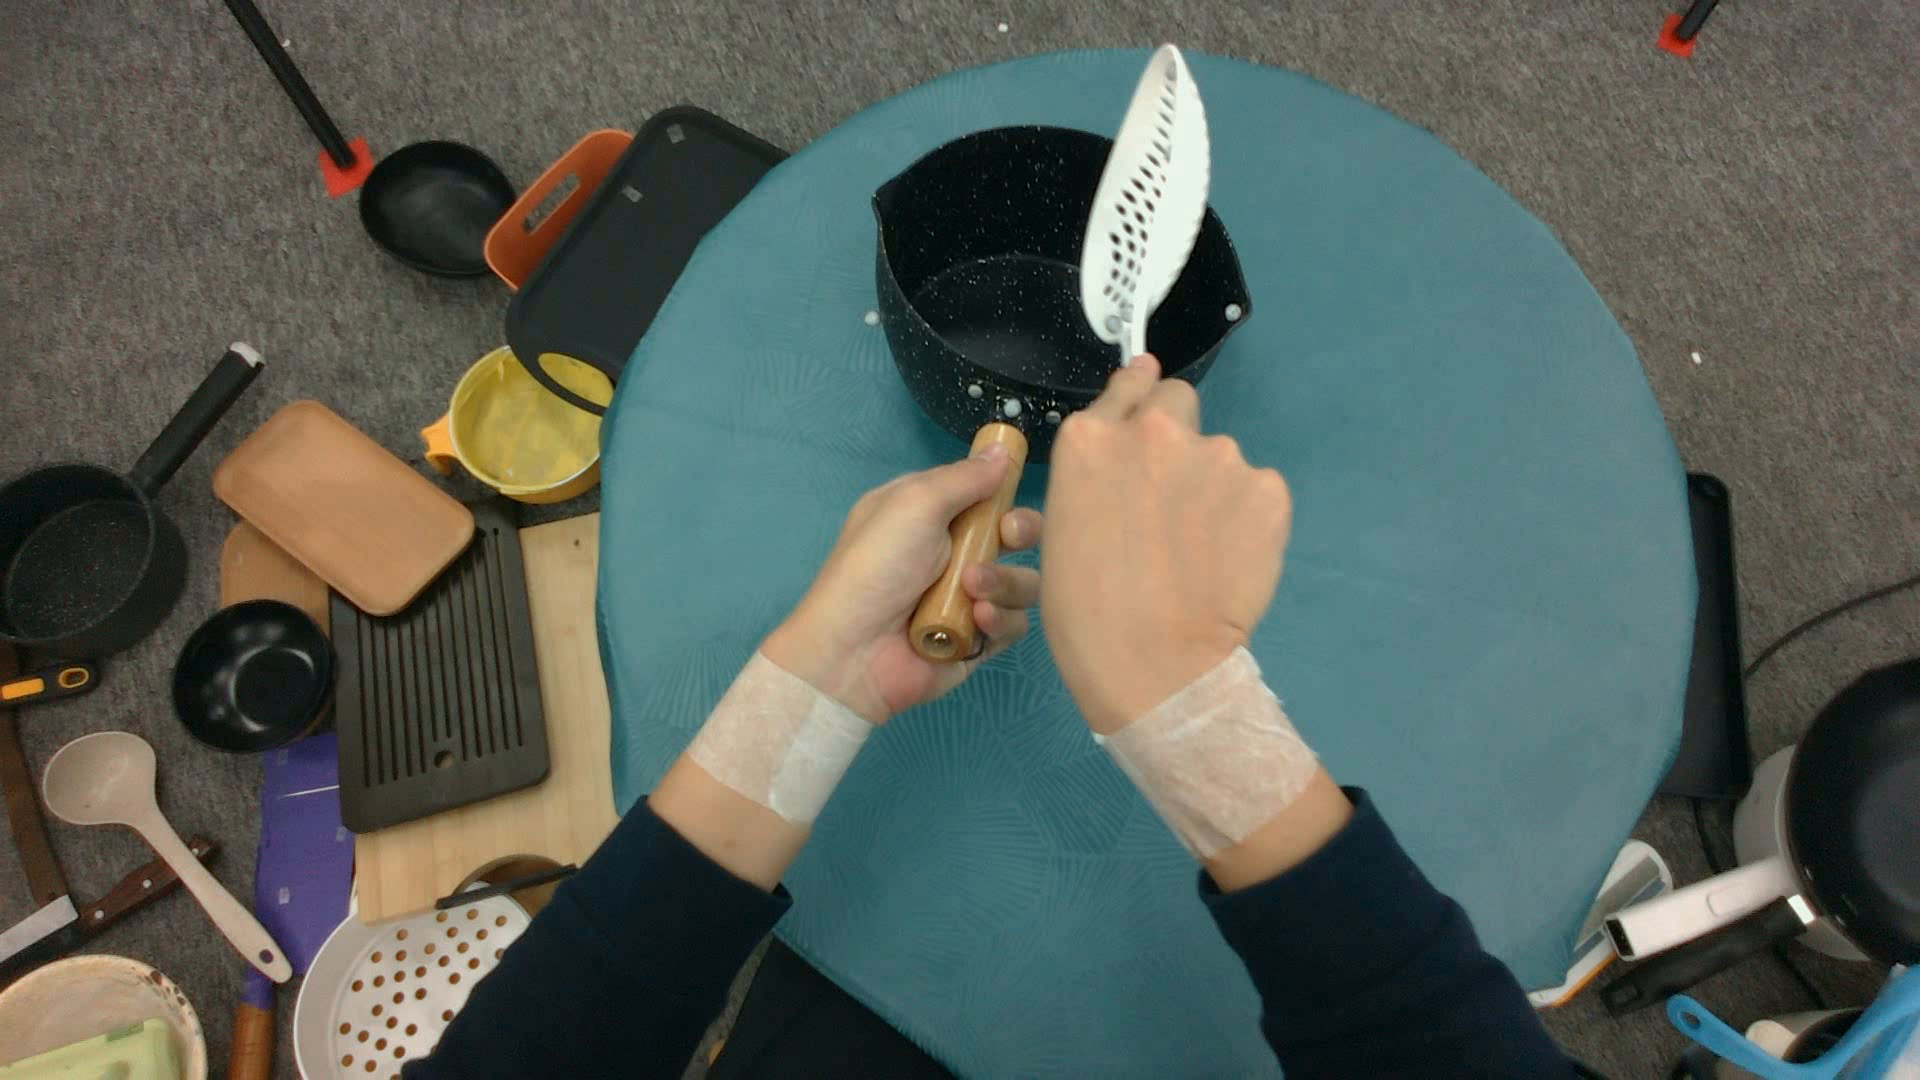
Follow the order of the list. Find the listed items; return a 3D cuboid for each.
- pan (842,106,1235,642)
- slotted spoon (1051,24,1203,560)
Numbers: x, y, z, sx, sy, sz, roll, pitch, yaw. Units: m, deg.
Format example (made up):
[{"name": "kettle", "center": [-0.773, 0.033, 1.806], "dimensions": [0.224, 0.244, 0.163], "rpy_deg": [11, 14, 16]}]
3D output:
[{"name": "pan", "center": [0.019, -0.074, 0.669], "dimensions": [0.207, 0.107, 0.344], "rpy_deg": [16, 54, -2]}, {"name": "slotted spoon", "center": [0.075, -0.109, 0.609], "dimensions": [0.050, 0.136, 0.349], "rpy_deg": [15, 41, -5]}]
